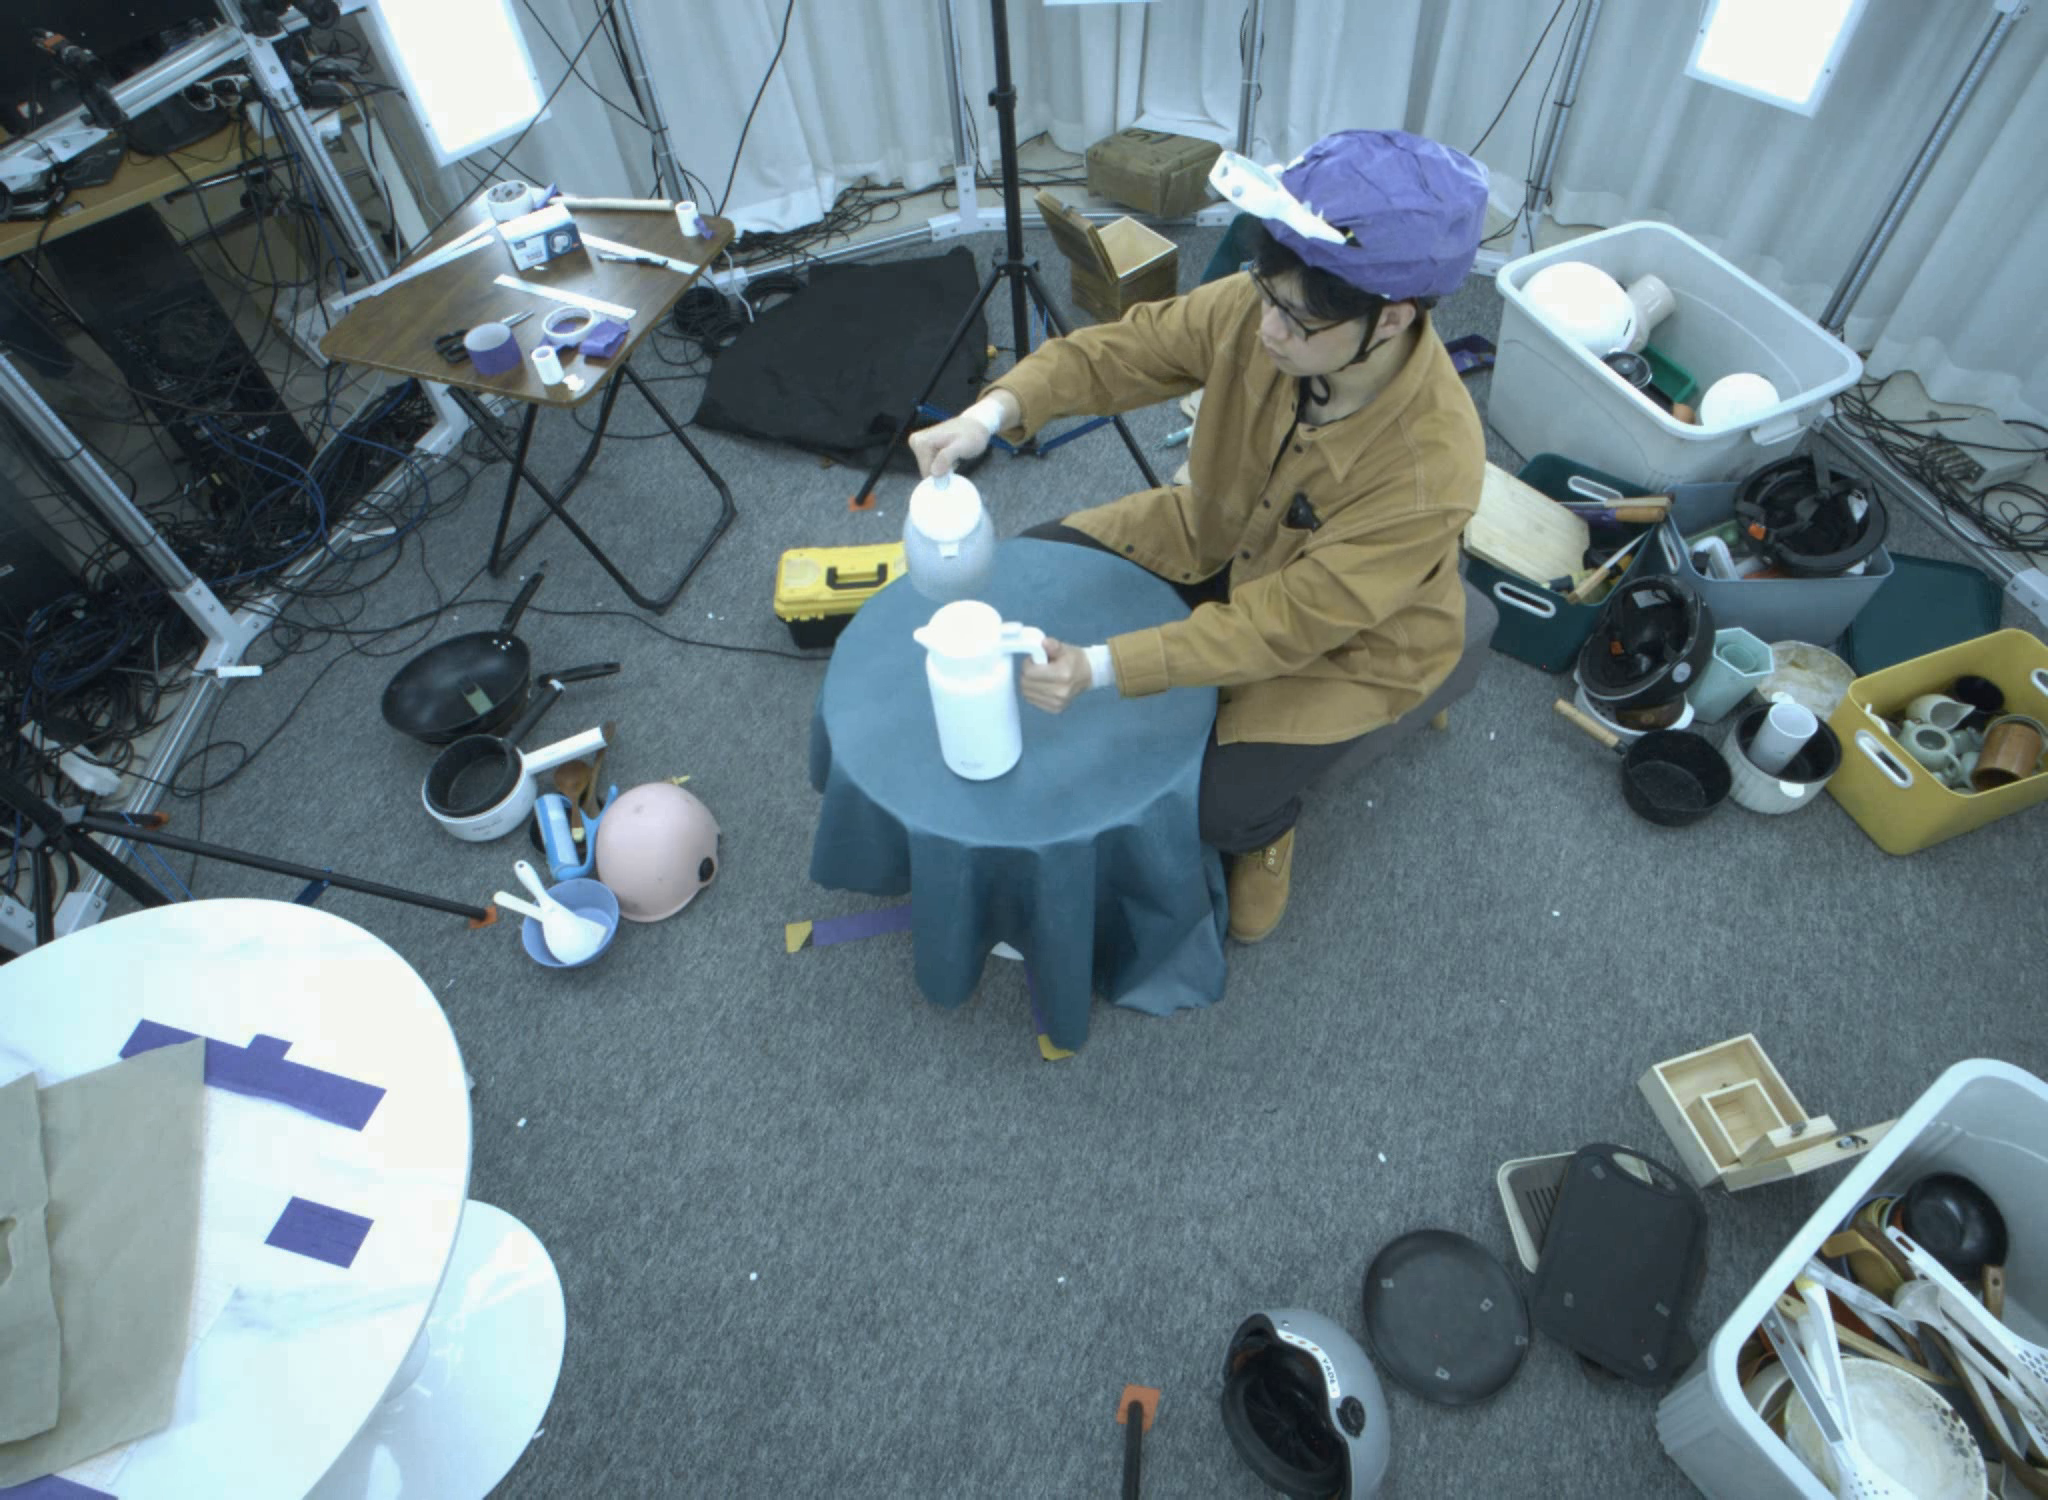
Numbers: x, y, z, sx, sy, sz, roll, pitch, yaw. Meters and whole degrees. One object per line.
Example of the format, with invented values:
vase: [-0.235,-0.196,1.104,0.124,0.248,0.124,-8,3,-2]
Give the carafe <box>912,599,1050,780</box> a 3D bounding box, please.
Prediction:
carafe: [-0.051,-0.080,1.677,0.173,0.272,0.122,-3,52,1]

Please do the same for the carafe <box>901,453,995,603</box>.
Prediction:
carafe: [-0.108,-0.313,1.662,0.133,0.248,0.167,-6,83,-4]
